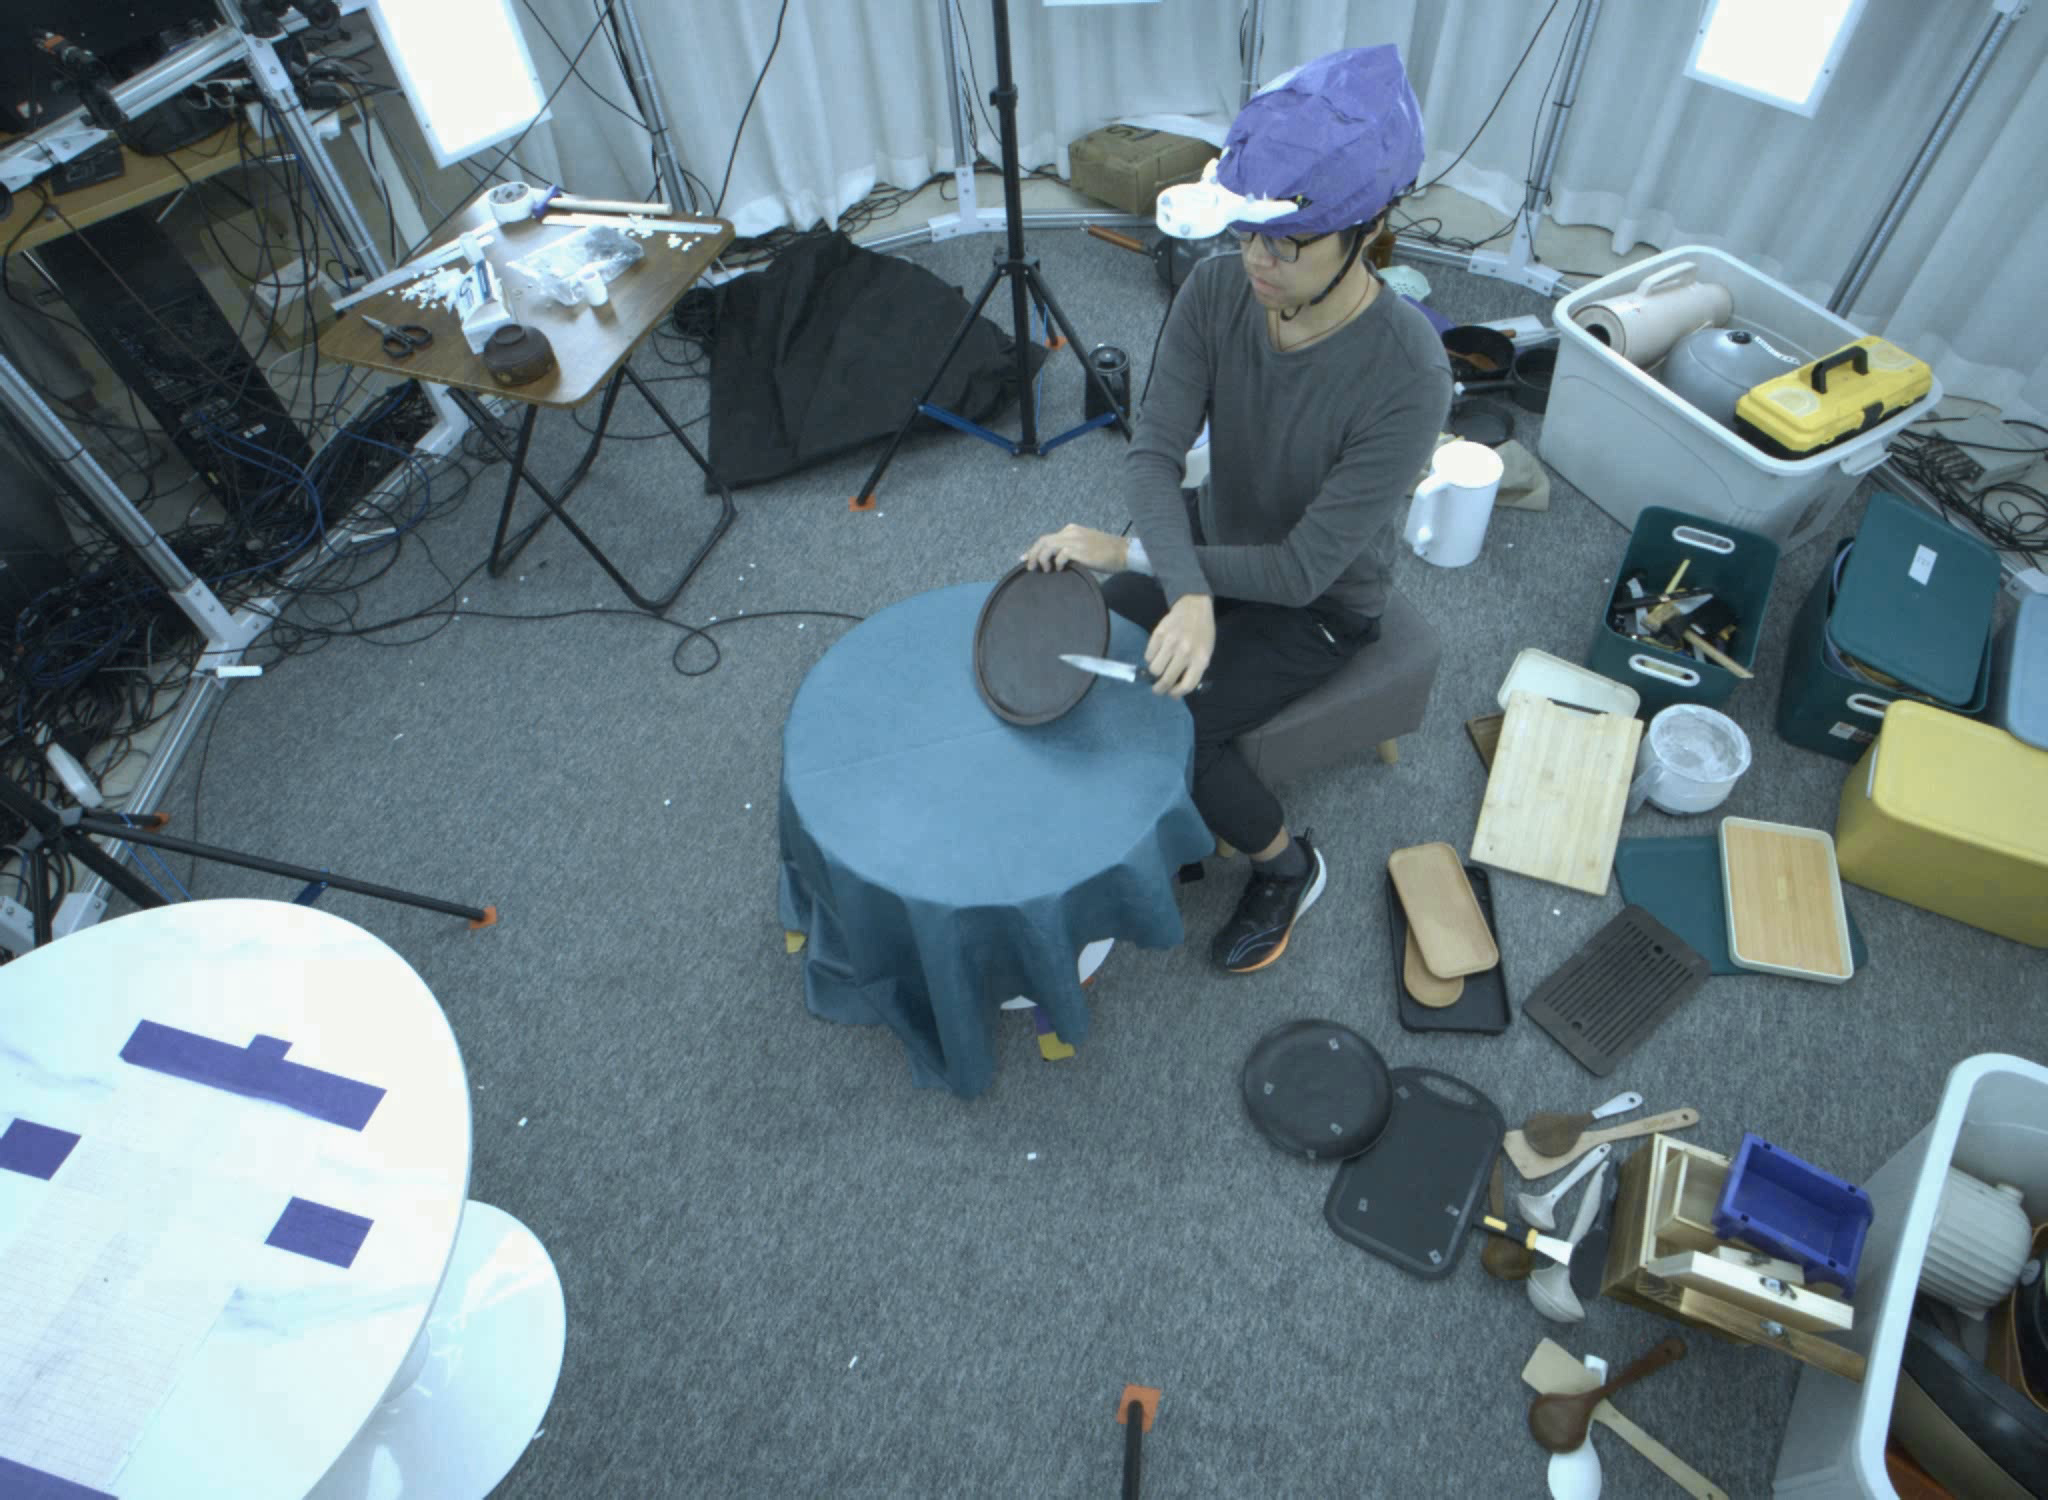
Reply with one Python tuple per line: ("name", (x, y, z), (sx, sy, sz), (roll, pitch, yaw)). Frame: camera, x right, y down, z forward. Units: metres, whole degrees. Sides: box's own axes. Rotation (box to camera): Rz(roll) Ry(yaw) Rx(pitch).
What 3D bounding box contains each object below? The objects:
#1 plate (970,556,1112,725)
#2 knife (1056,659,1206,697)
("plate", (0.024, -0.160, 1.802), (0.250, 0.029, 0.254), (-6, 80, 36))
("knife", (0.143, -0.105, 1.693), (0.233, 0.024, 0.016), (14, 22, 30))
